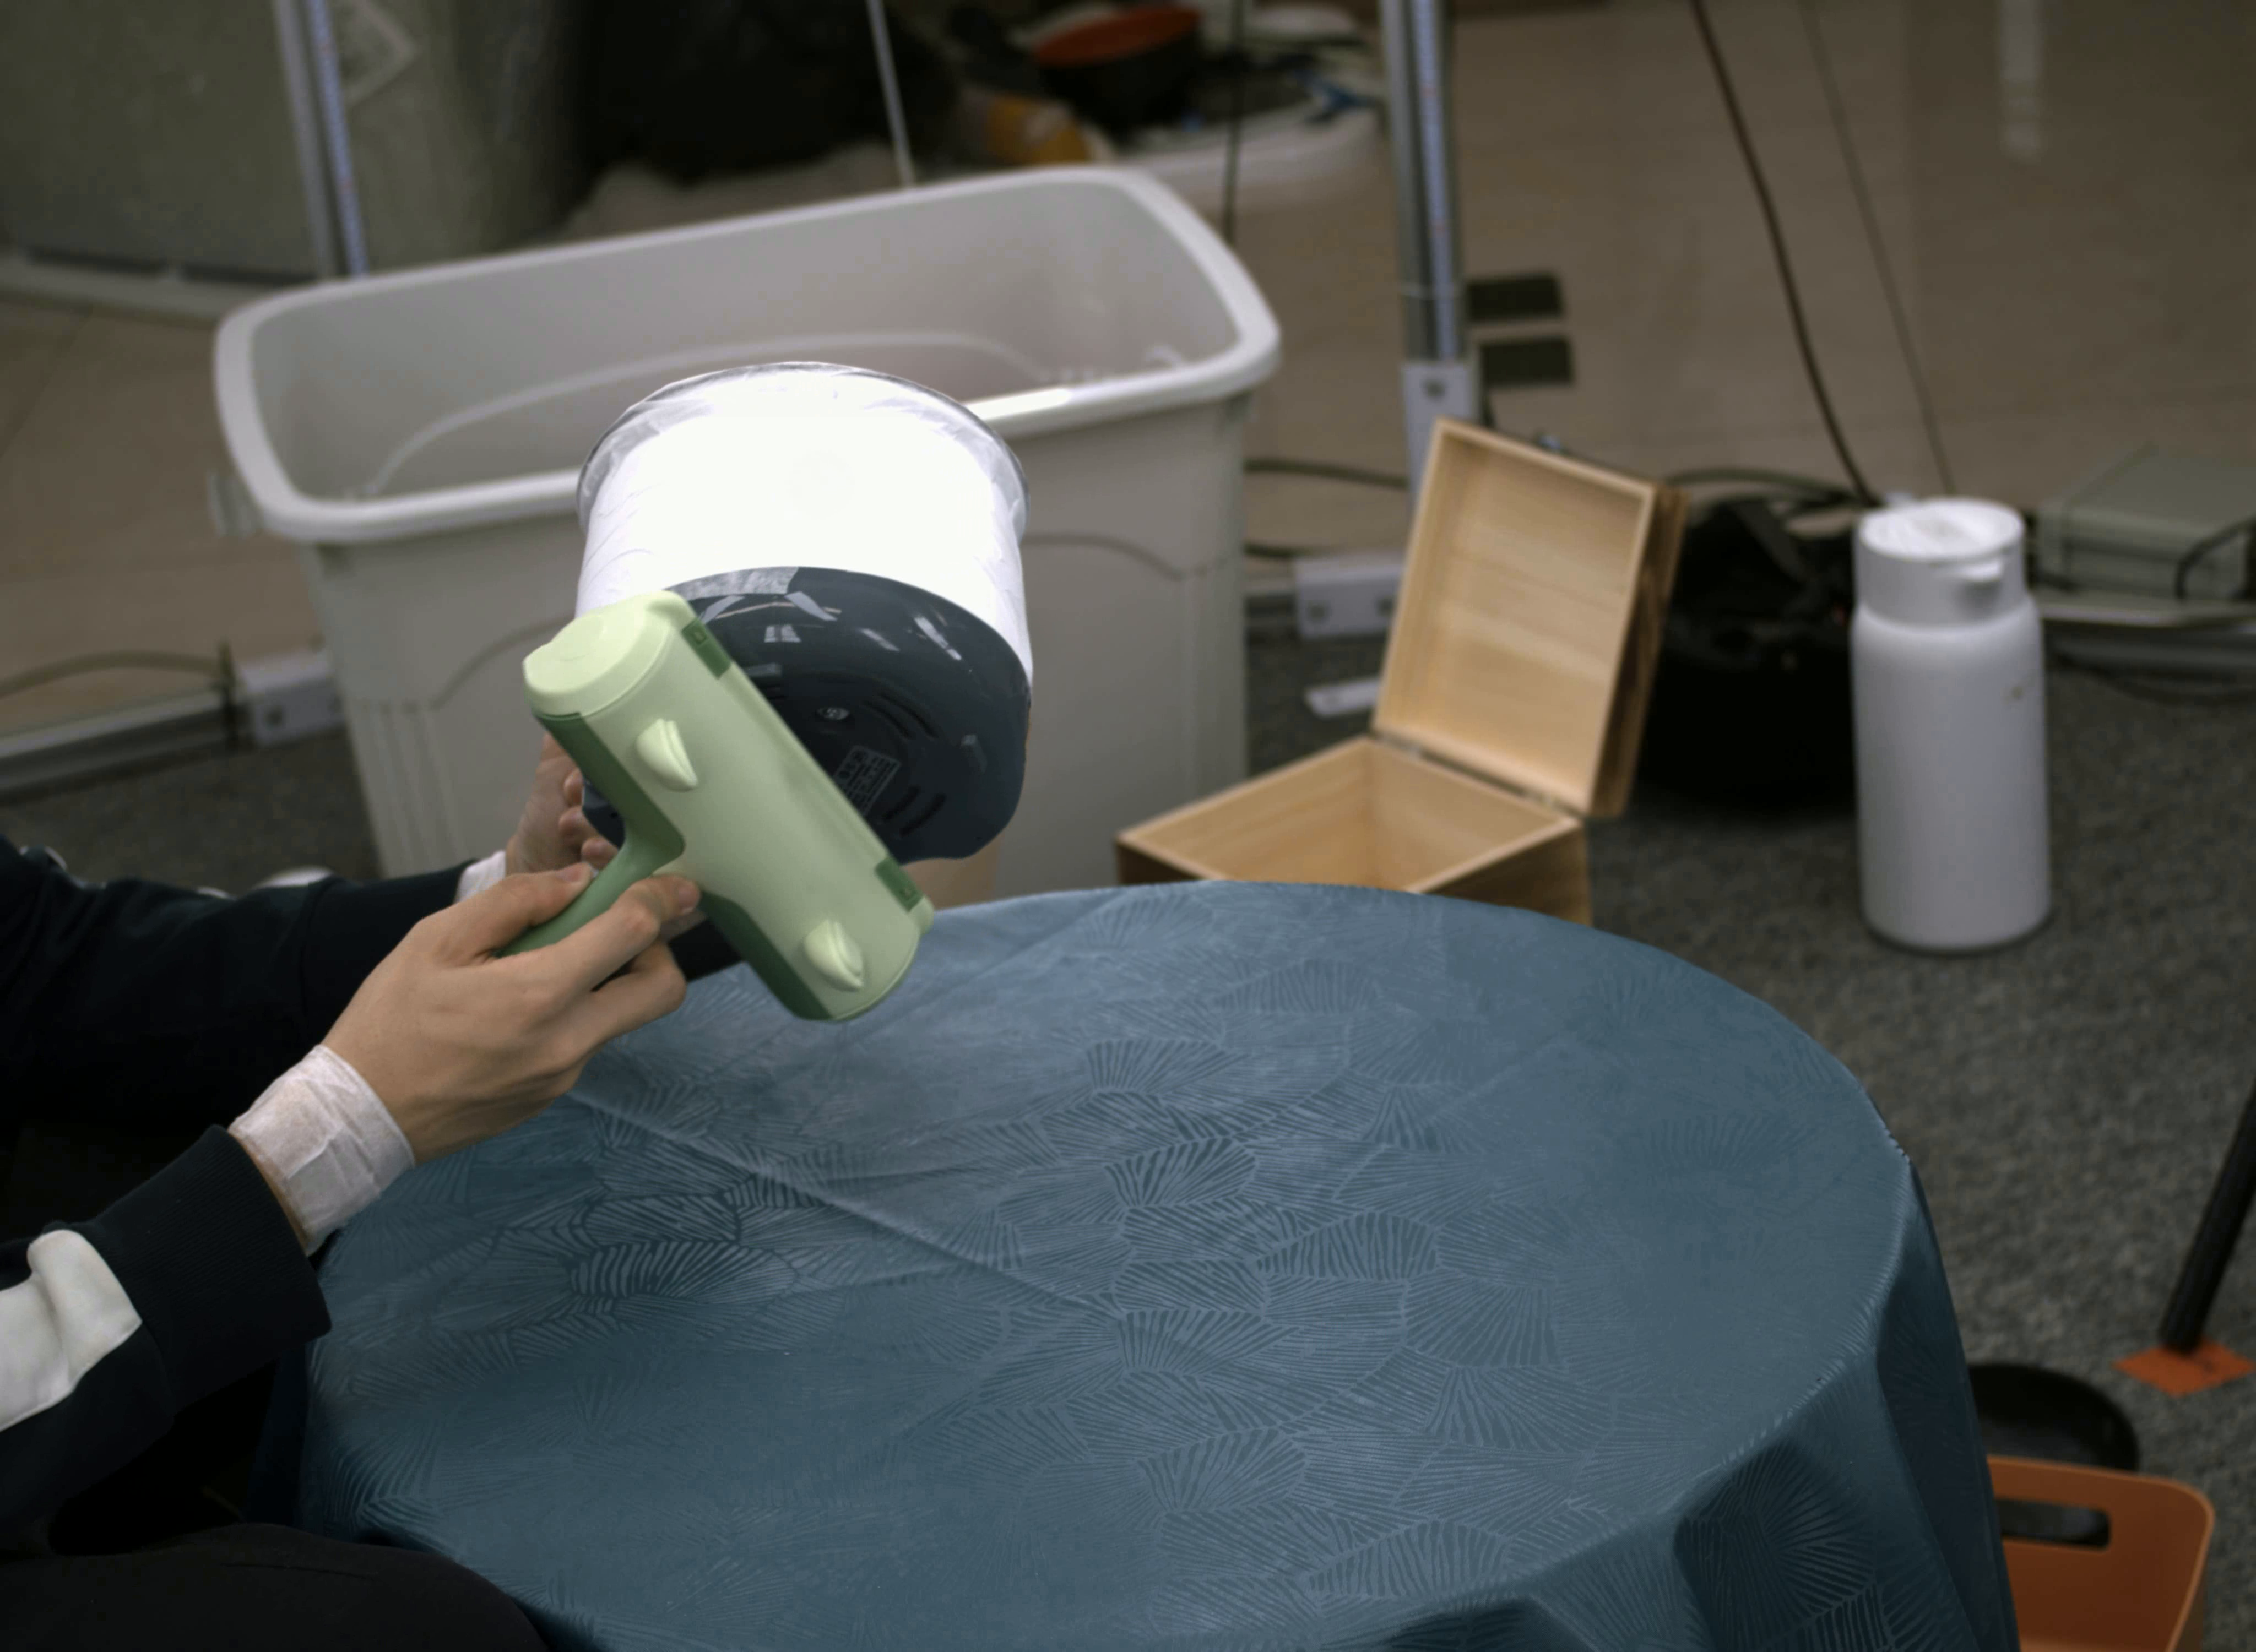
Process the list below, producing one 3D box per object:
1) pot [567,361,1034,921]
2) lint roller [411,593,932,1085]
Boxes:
[{"bbox_3d":[-0.140,-0.060,2.177,0.179,0.236,0.134,20,52,-28],"label":"pot"},{"bbox_3d":[-0.180,0.037,2.068,0.182,0.202,0.081,-46,40,-10],"label":"lint roller"}]
